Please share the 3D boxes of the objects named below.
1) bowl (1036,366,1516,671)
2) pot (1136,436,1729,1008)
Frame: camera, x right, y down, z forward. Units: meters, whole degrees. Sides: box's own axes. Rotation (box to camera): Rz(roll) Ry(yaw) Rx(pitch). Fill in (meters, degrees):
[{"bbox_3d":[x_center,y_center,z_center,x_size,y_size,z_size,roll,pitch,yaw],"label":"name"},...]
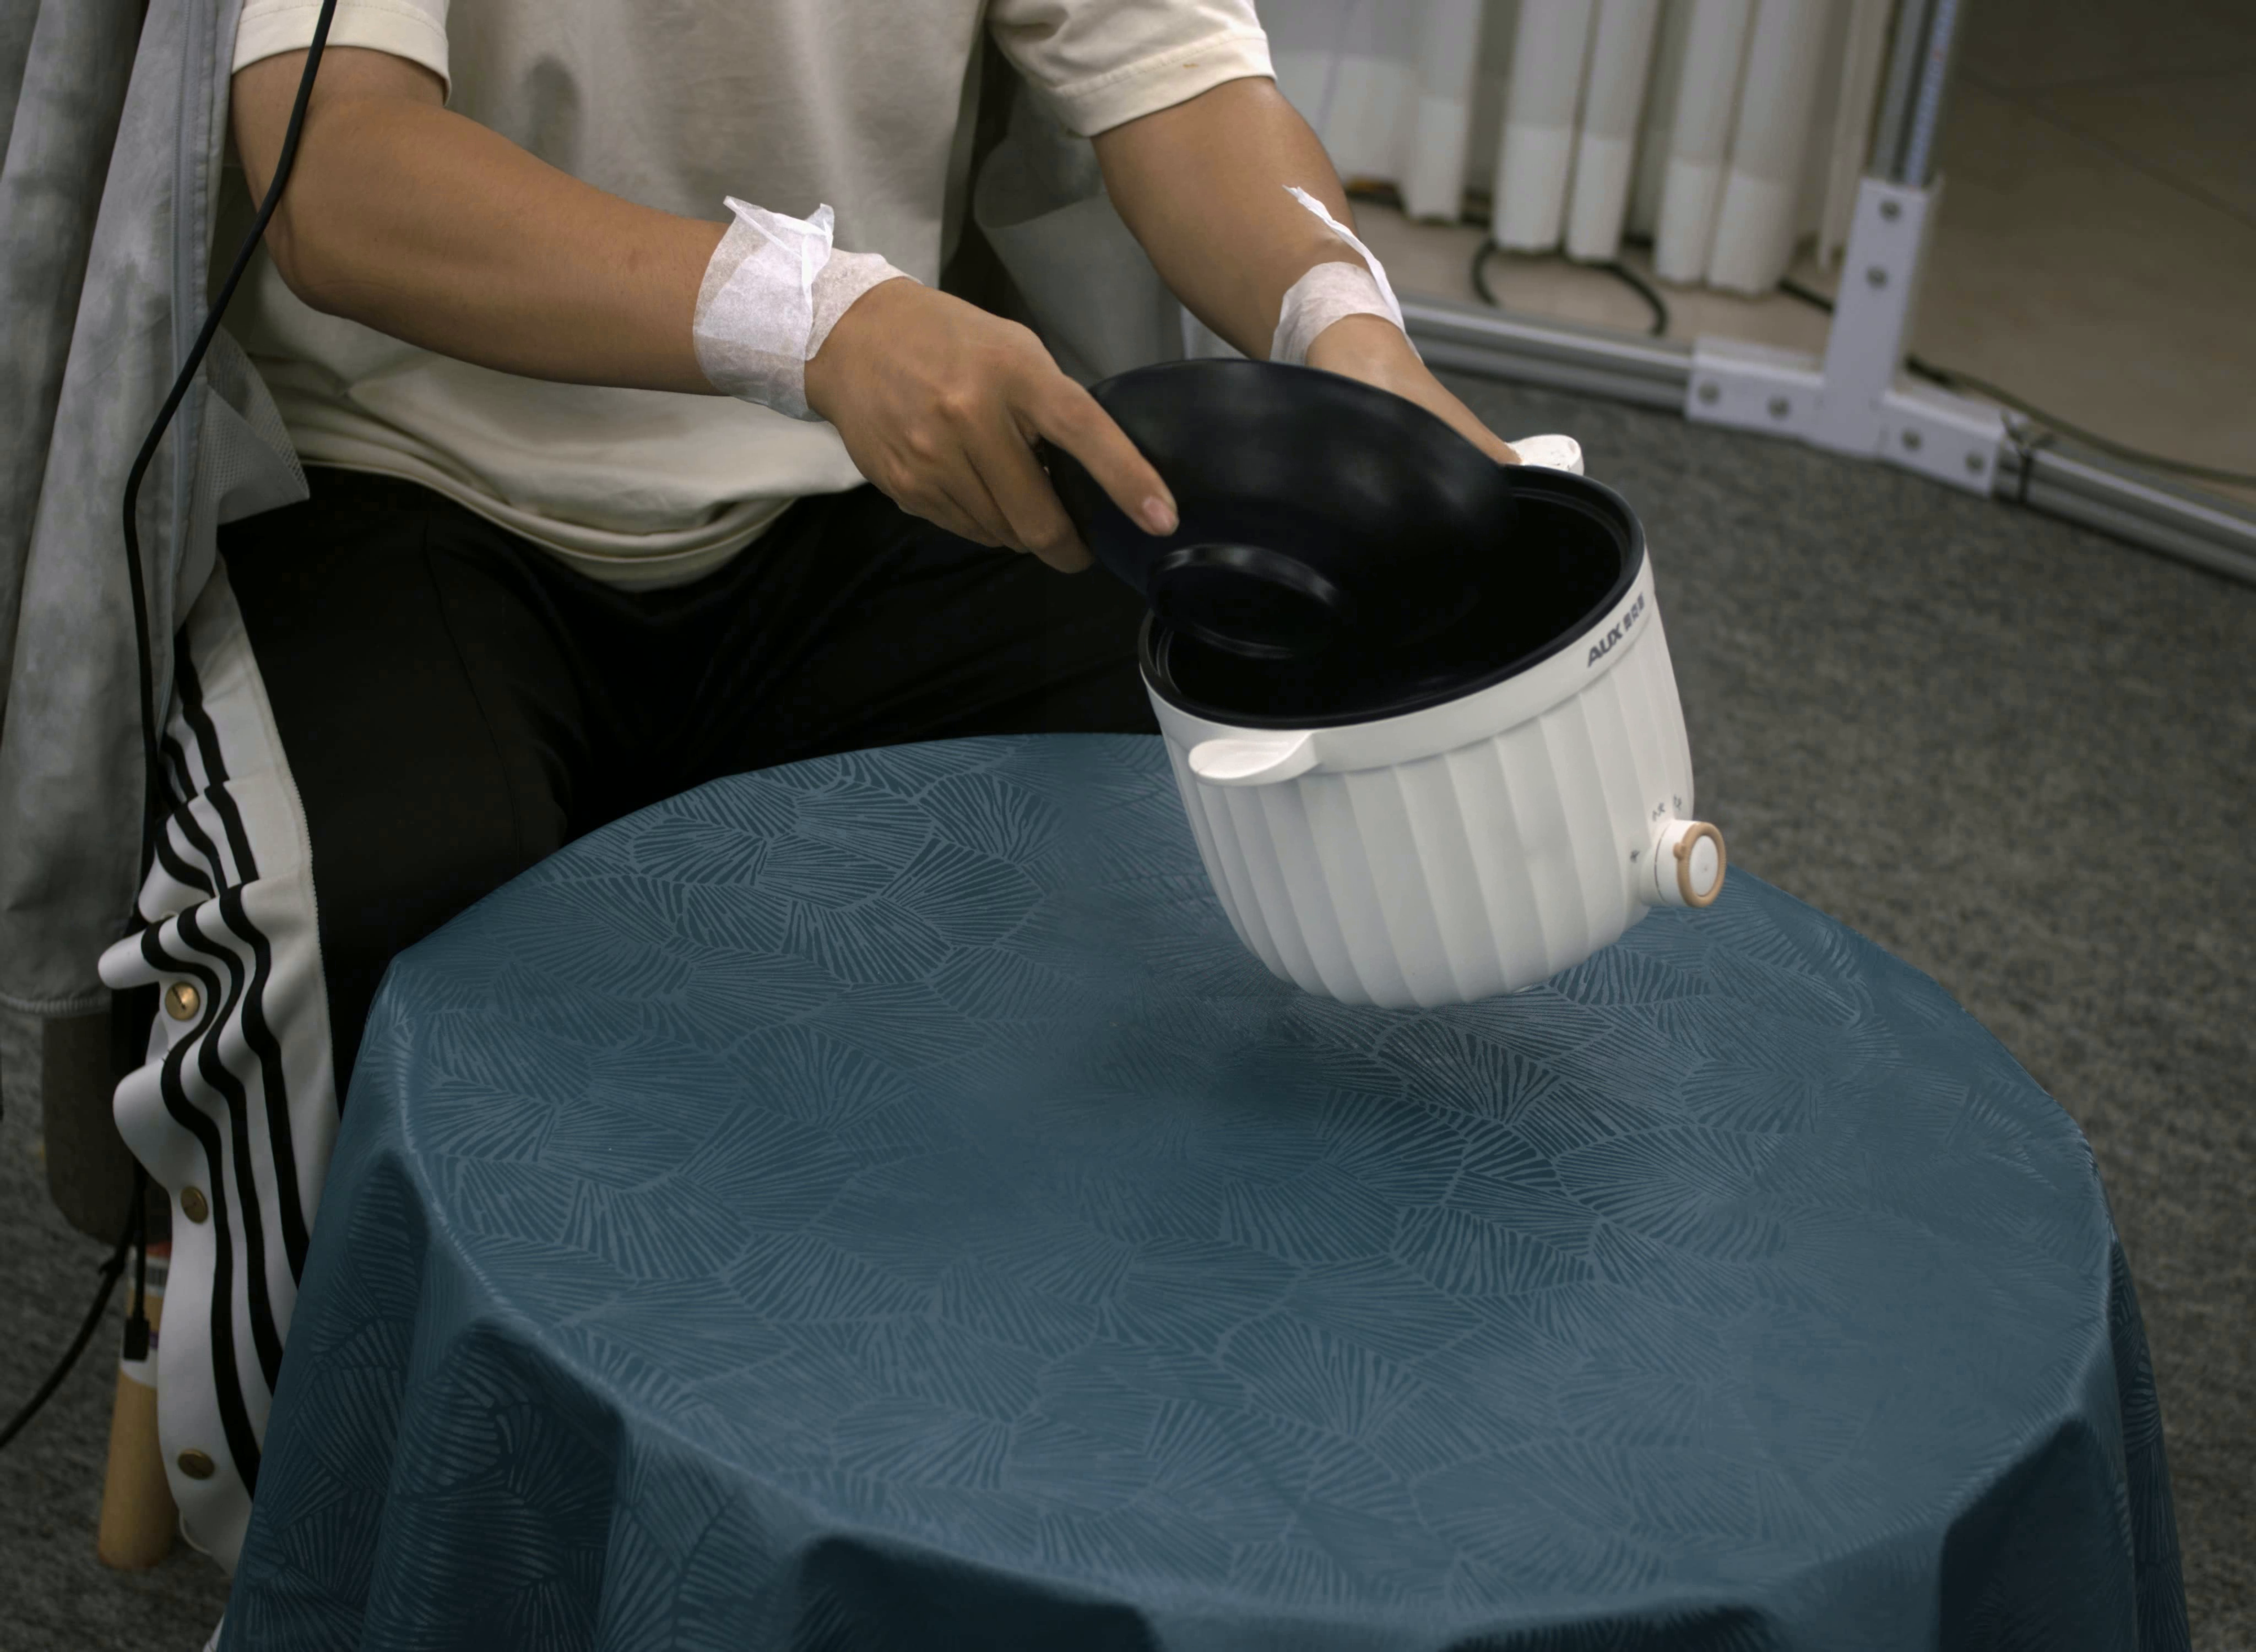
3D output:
[{"bbox_3d":[0.048,-0.097,1.827,0.169,0.137,0.067,19,64,-11],"label":"bowl"},{"bbox_3d":[0.112,-0.027,1.878,0.191,0.142,0.240,0,32,37],"label":"pot"}]
